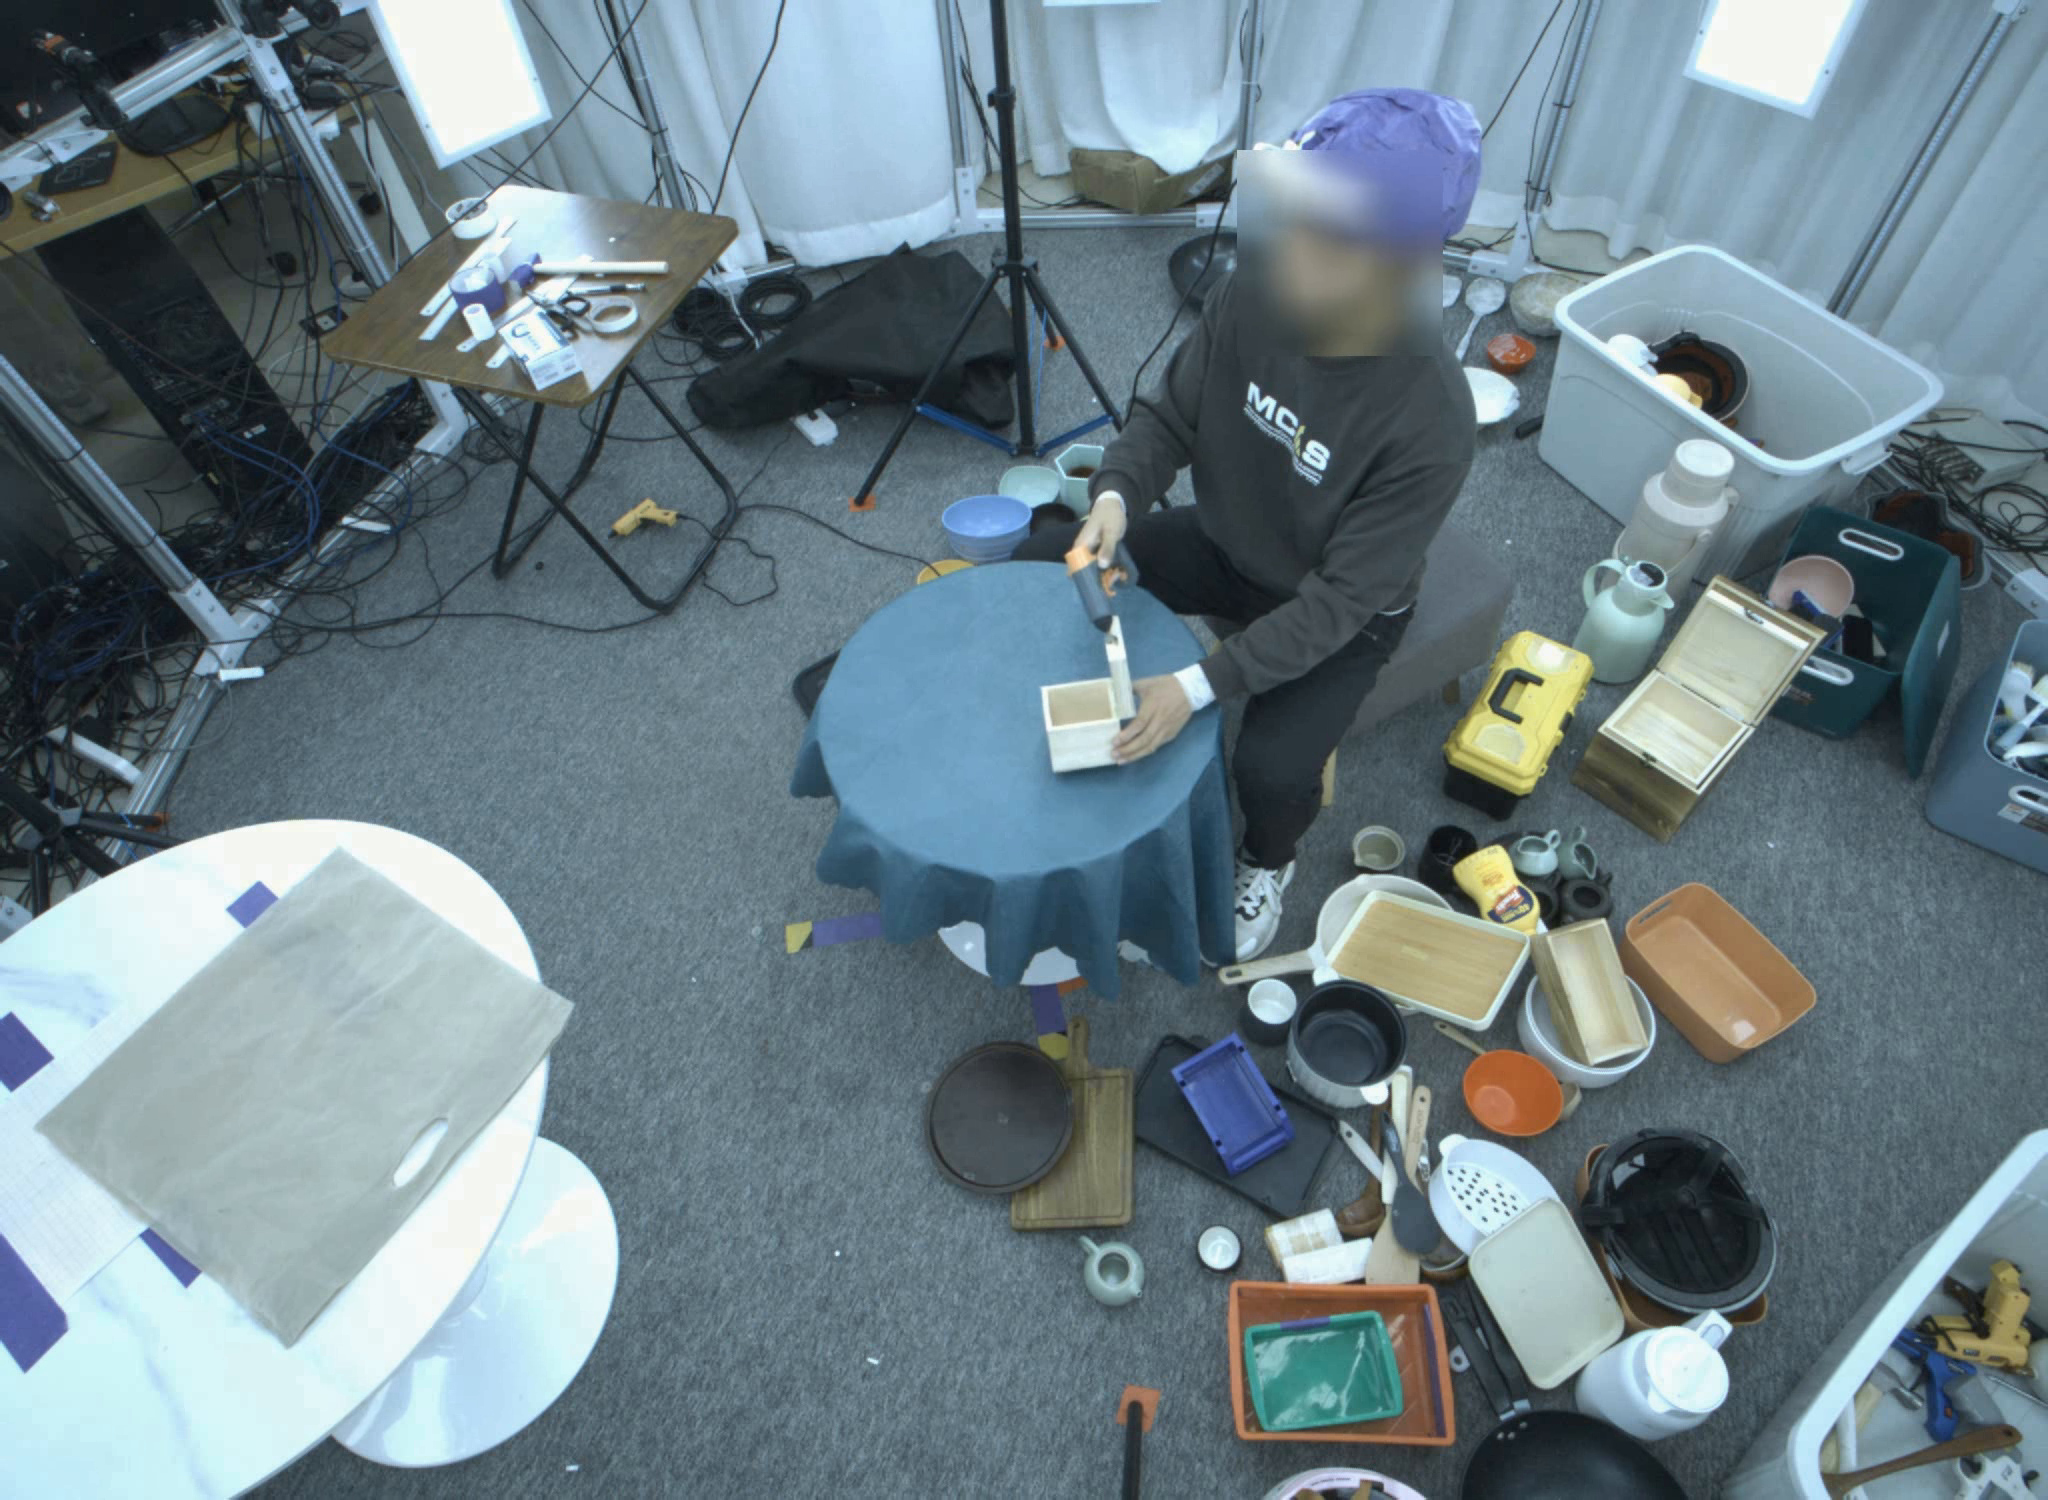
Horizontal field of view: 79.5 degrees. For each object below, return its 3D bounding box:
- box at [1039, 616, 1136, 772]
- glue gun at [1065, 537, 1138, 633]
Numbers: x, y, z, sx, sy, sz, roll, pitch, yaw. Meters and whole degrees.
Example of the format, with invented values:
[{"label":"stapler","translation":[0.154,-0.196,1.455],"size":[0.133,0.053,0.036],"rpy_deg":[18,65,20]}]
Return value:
[{"label":"box","translation":[0.084,-0.077,1.711],"size":[0.134,0.187,0.101],"rpy_deg":[-9,42,1]},{"label":"glue gun","translation":[0.108,-0.232,1.688],"size":[0.040,0.119,0.141],"rpy_deg":[-19,16,34]}]
